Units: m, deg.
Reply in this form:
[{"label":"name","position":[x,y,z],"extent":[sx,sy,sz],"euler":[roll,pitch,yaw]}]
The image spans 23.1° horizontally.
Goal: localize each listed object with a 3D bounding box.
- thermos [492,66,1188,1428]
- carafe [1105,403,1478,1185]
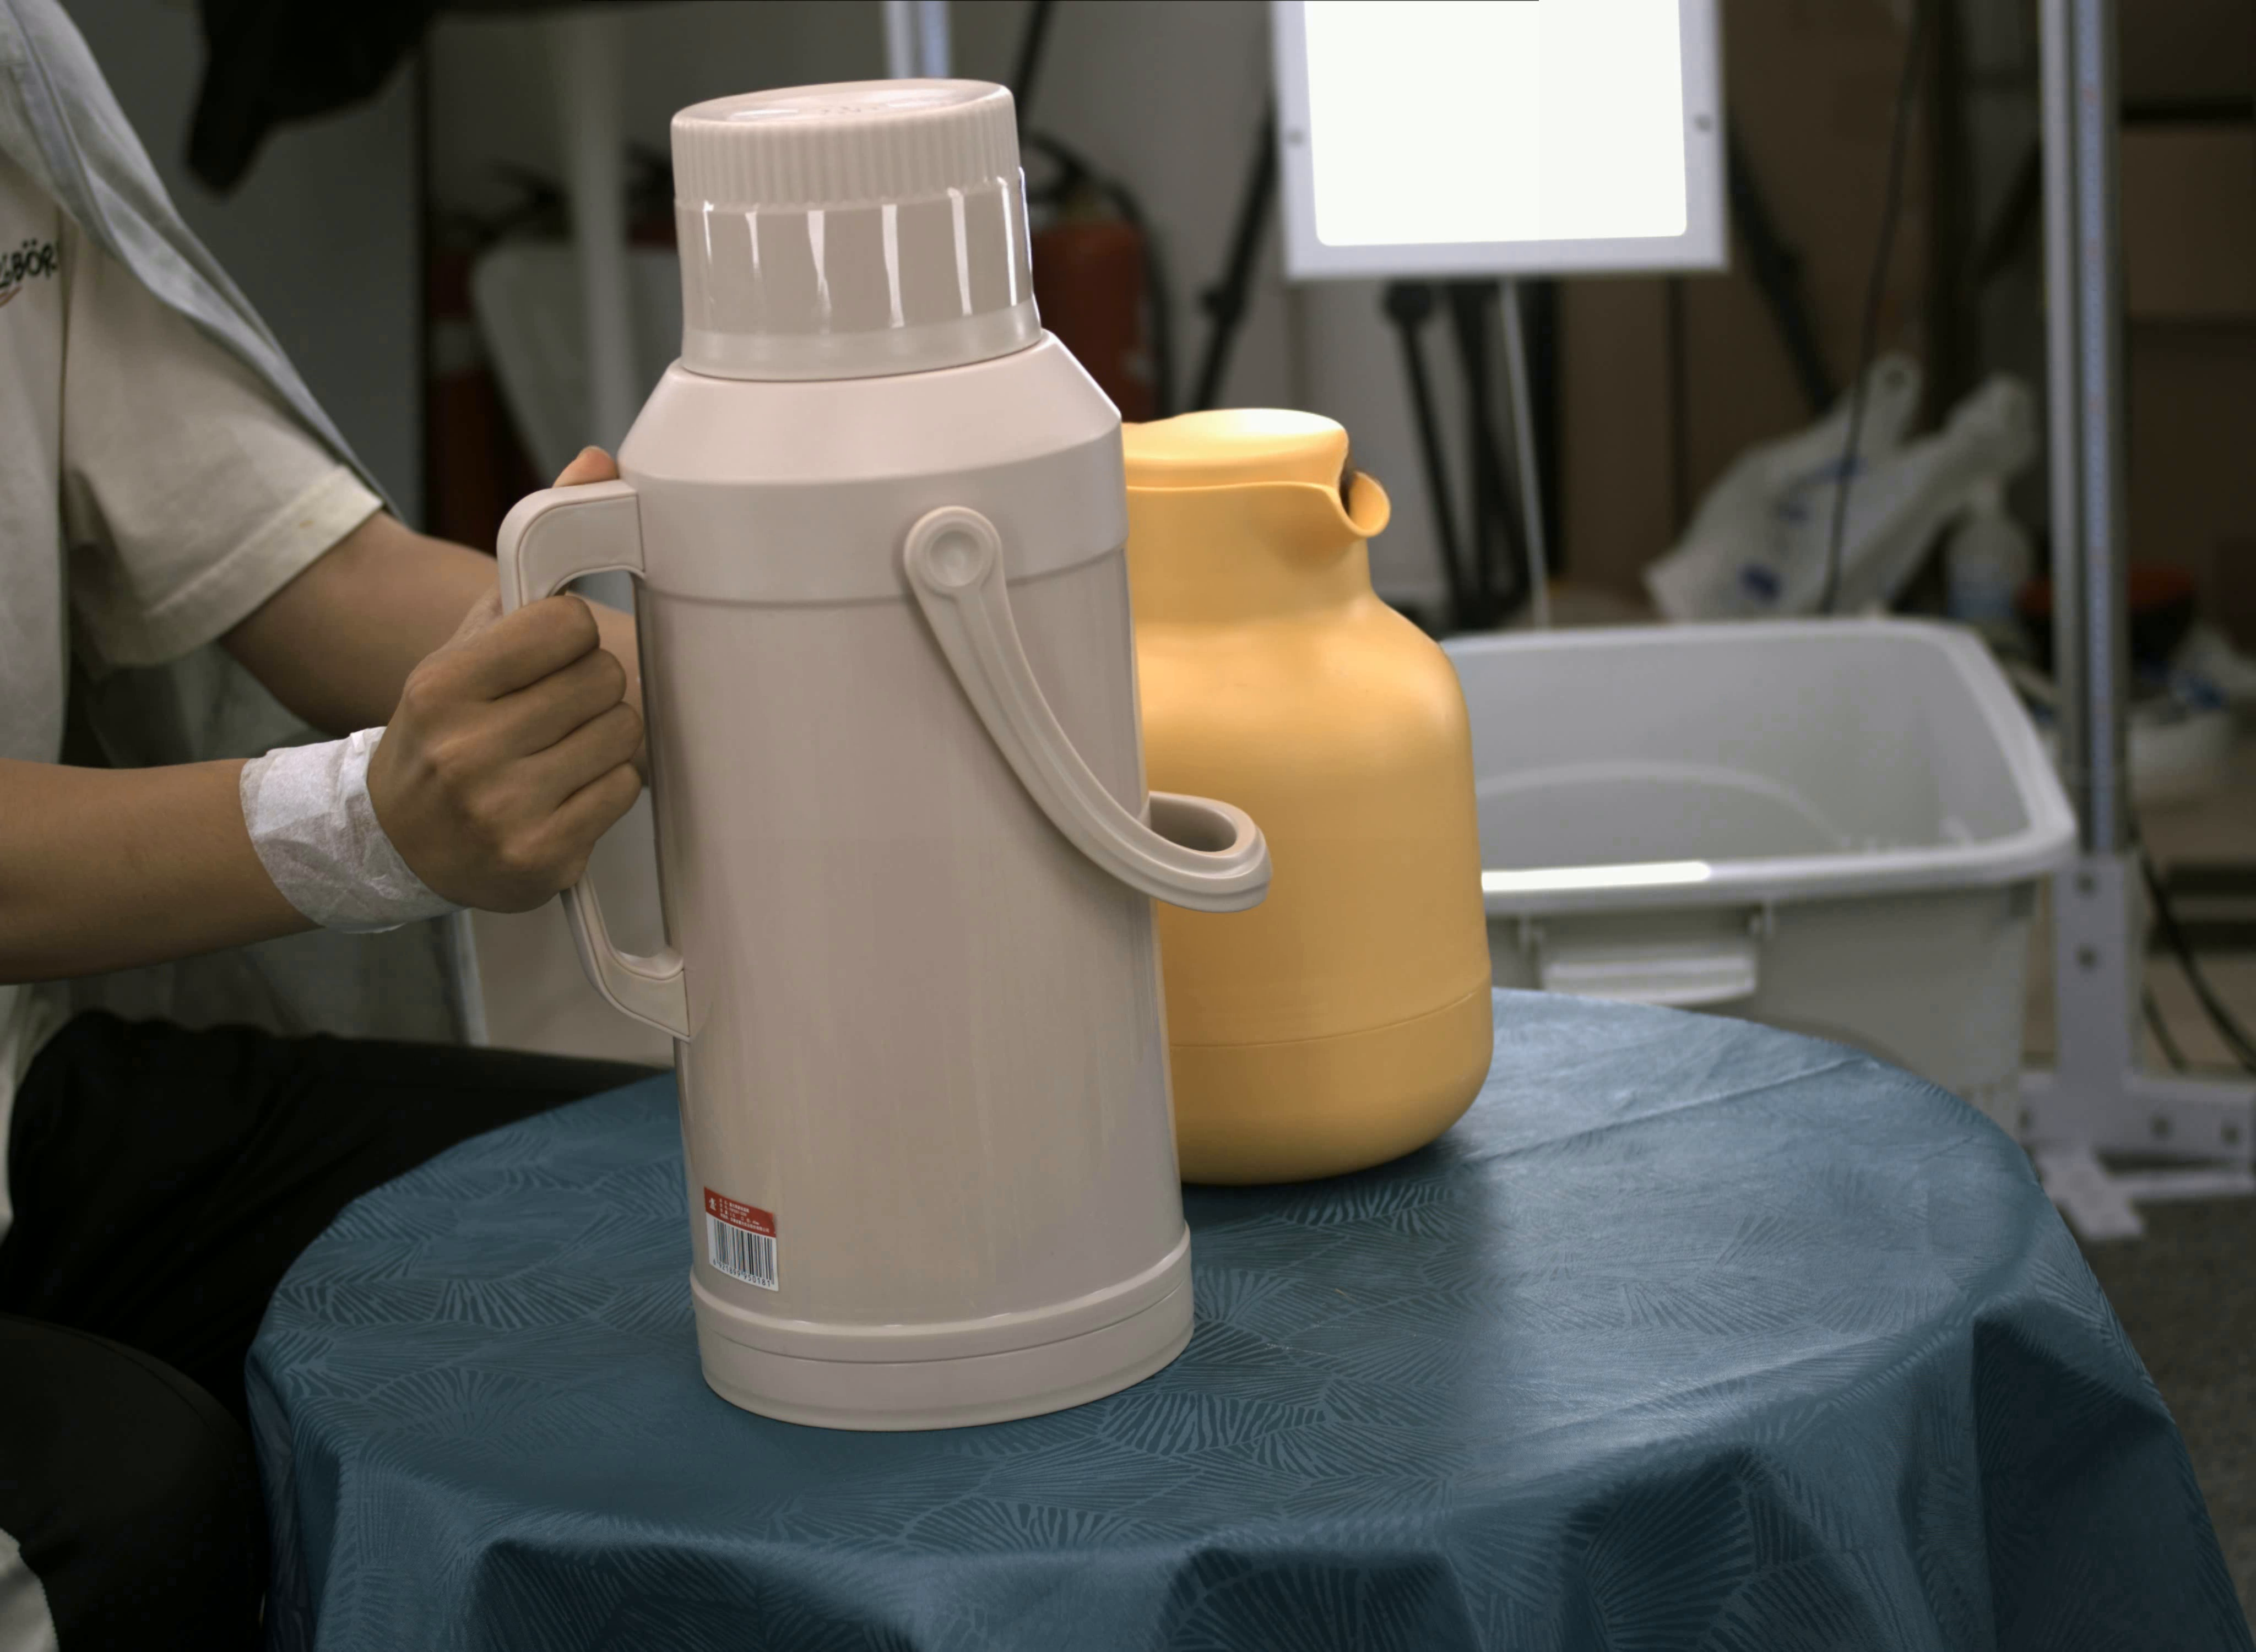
[{"label":"thermos","position":[-0.088,-0.025,1.707],"extent":[0.204,0.408,0.177],"euler":[-8,15,-15]},{"label":"carafe","position":[0.027,-0.018,1.926],"extent":[0.159,0.261,0.206],"euler":[-12,16,-37]}]
